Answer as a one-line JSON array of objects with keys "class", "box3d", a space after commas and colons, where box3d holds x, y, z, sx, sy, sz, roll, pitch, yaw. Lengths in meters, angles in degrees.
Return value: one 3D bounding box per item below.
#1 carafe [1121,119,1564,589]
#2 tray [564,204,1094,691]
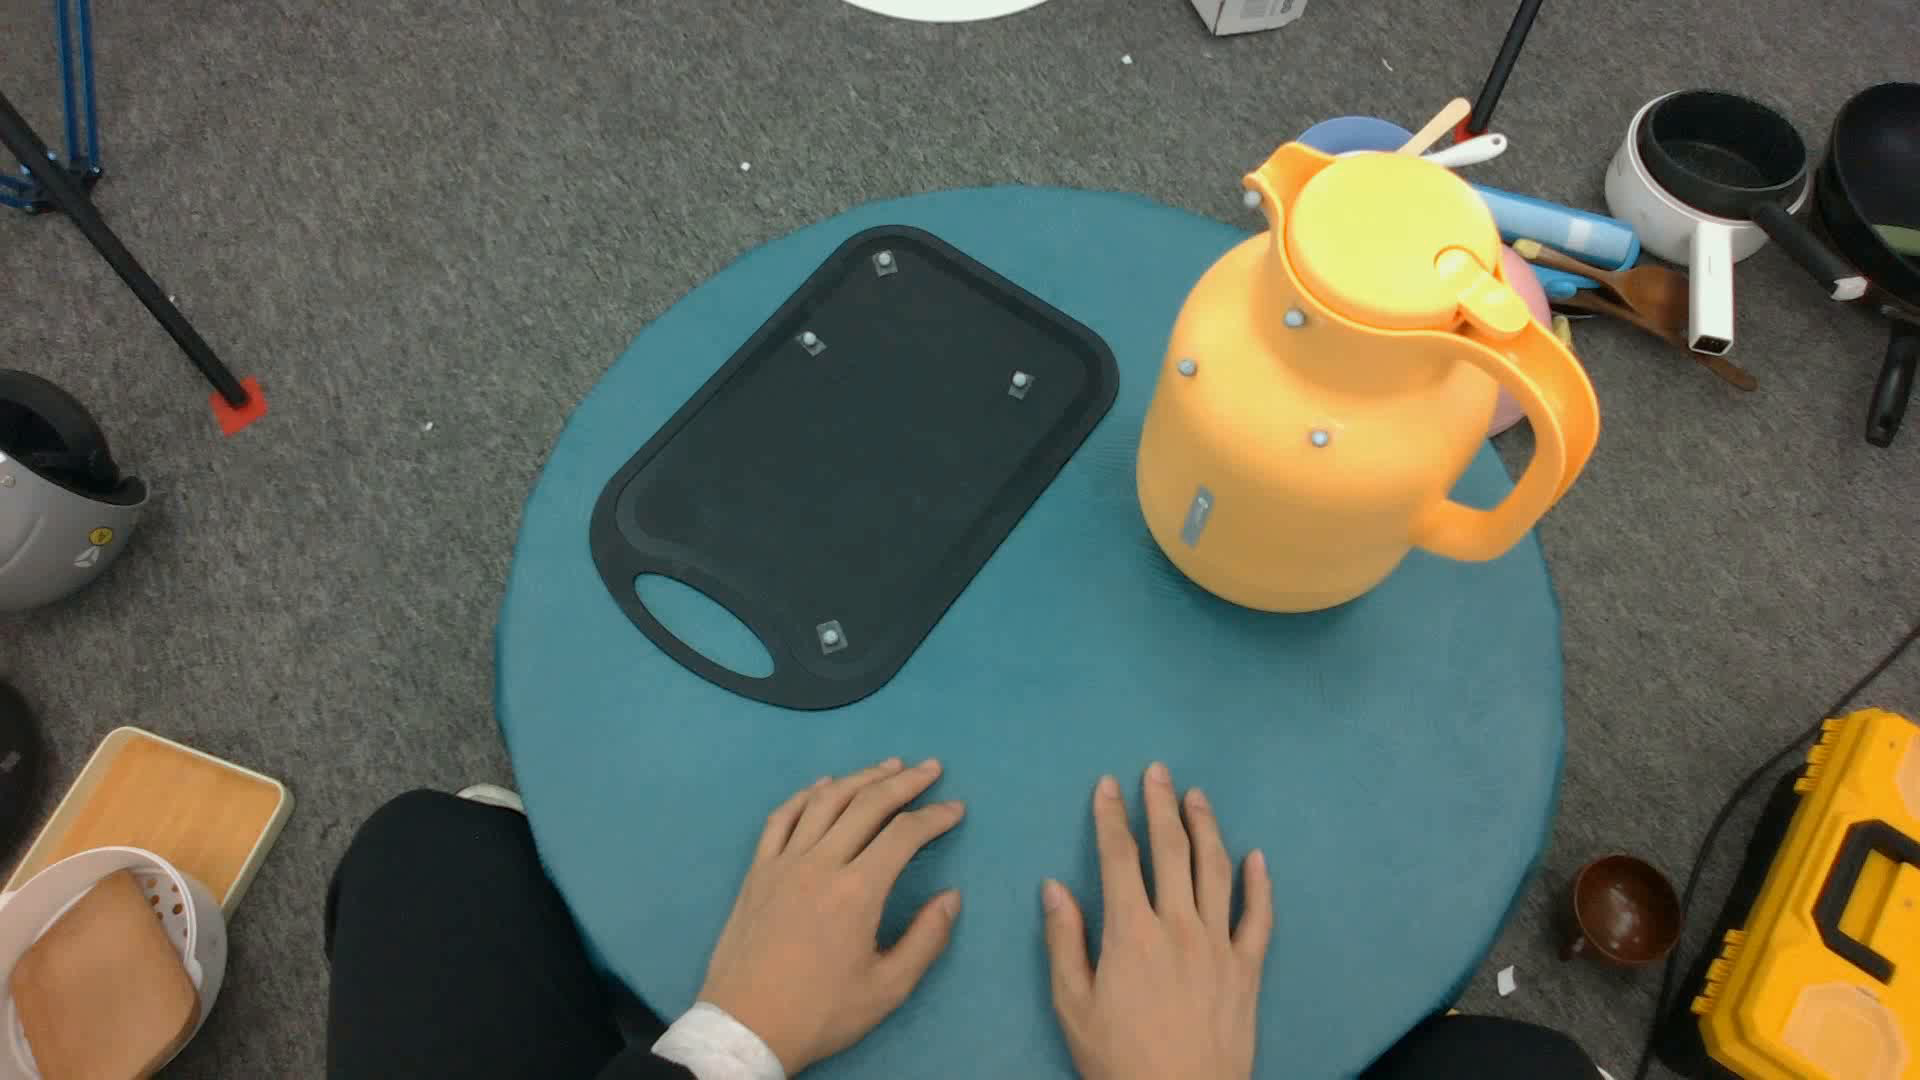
[{"class": "carafe", "box3d": [0.186, -0.077, 0.695, 0.164, 0.259, 0.202, -40, 70, -16]}, {"class": "tray", "box3d": [-0.077, -0.063, 0.819, 0.211, 0.010, 0.326, 33, 67, 14]}]
